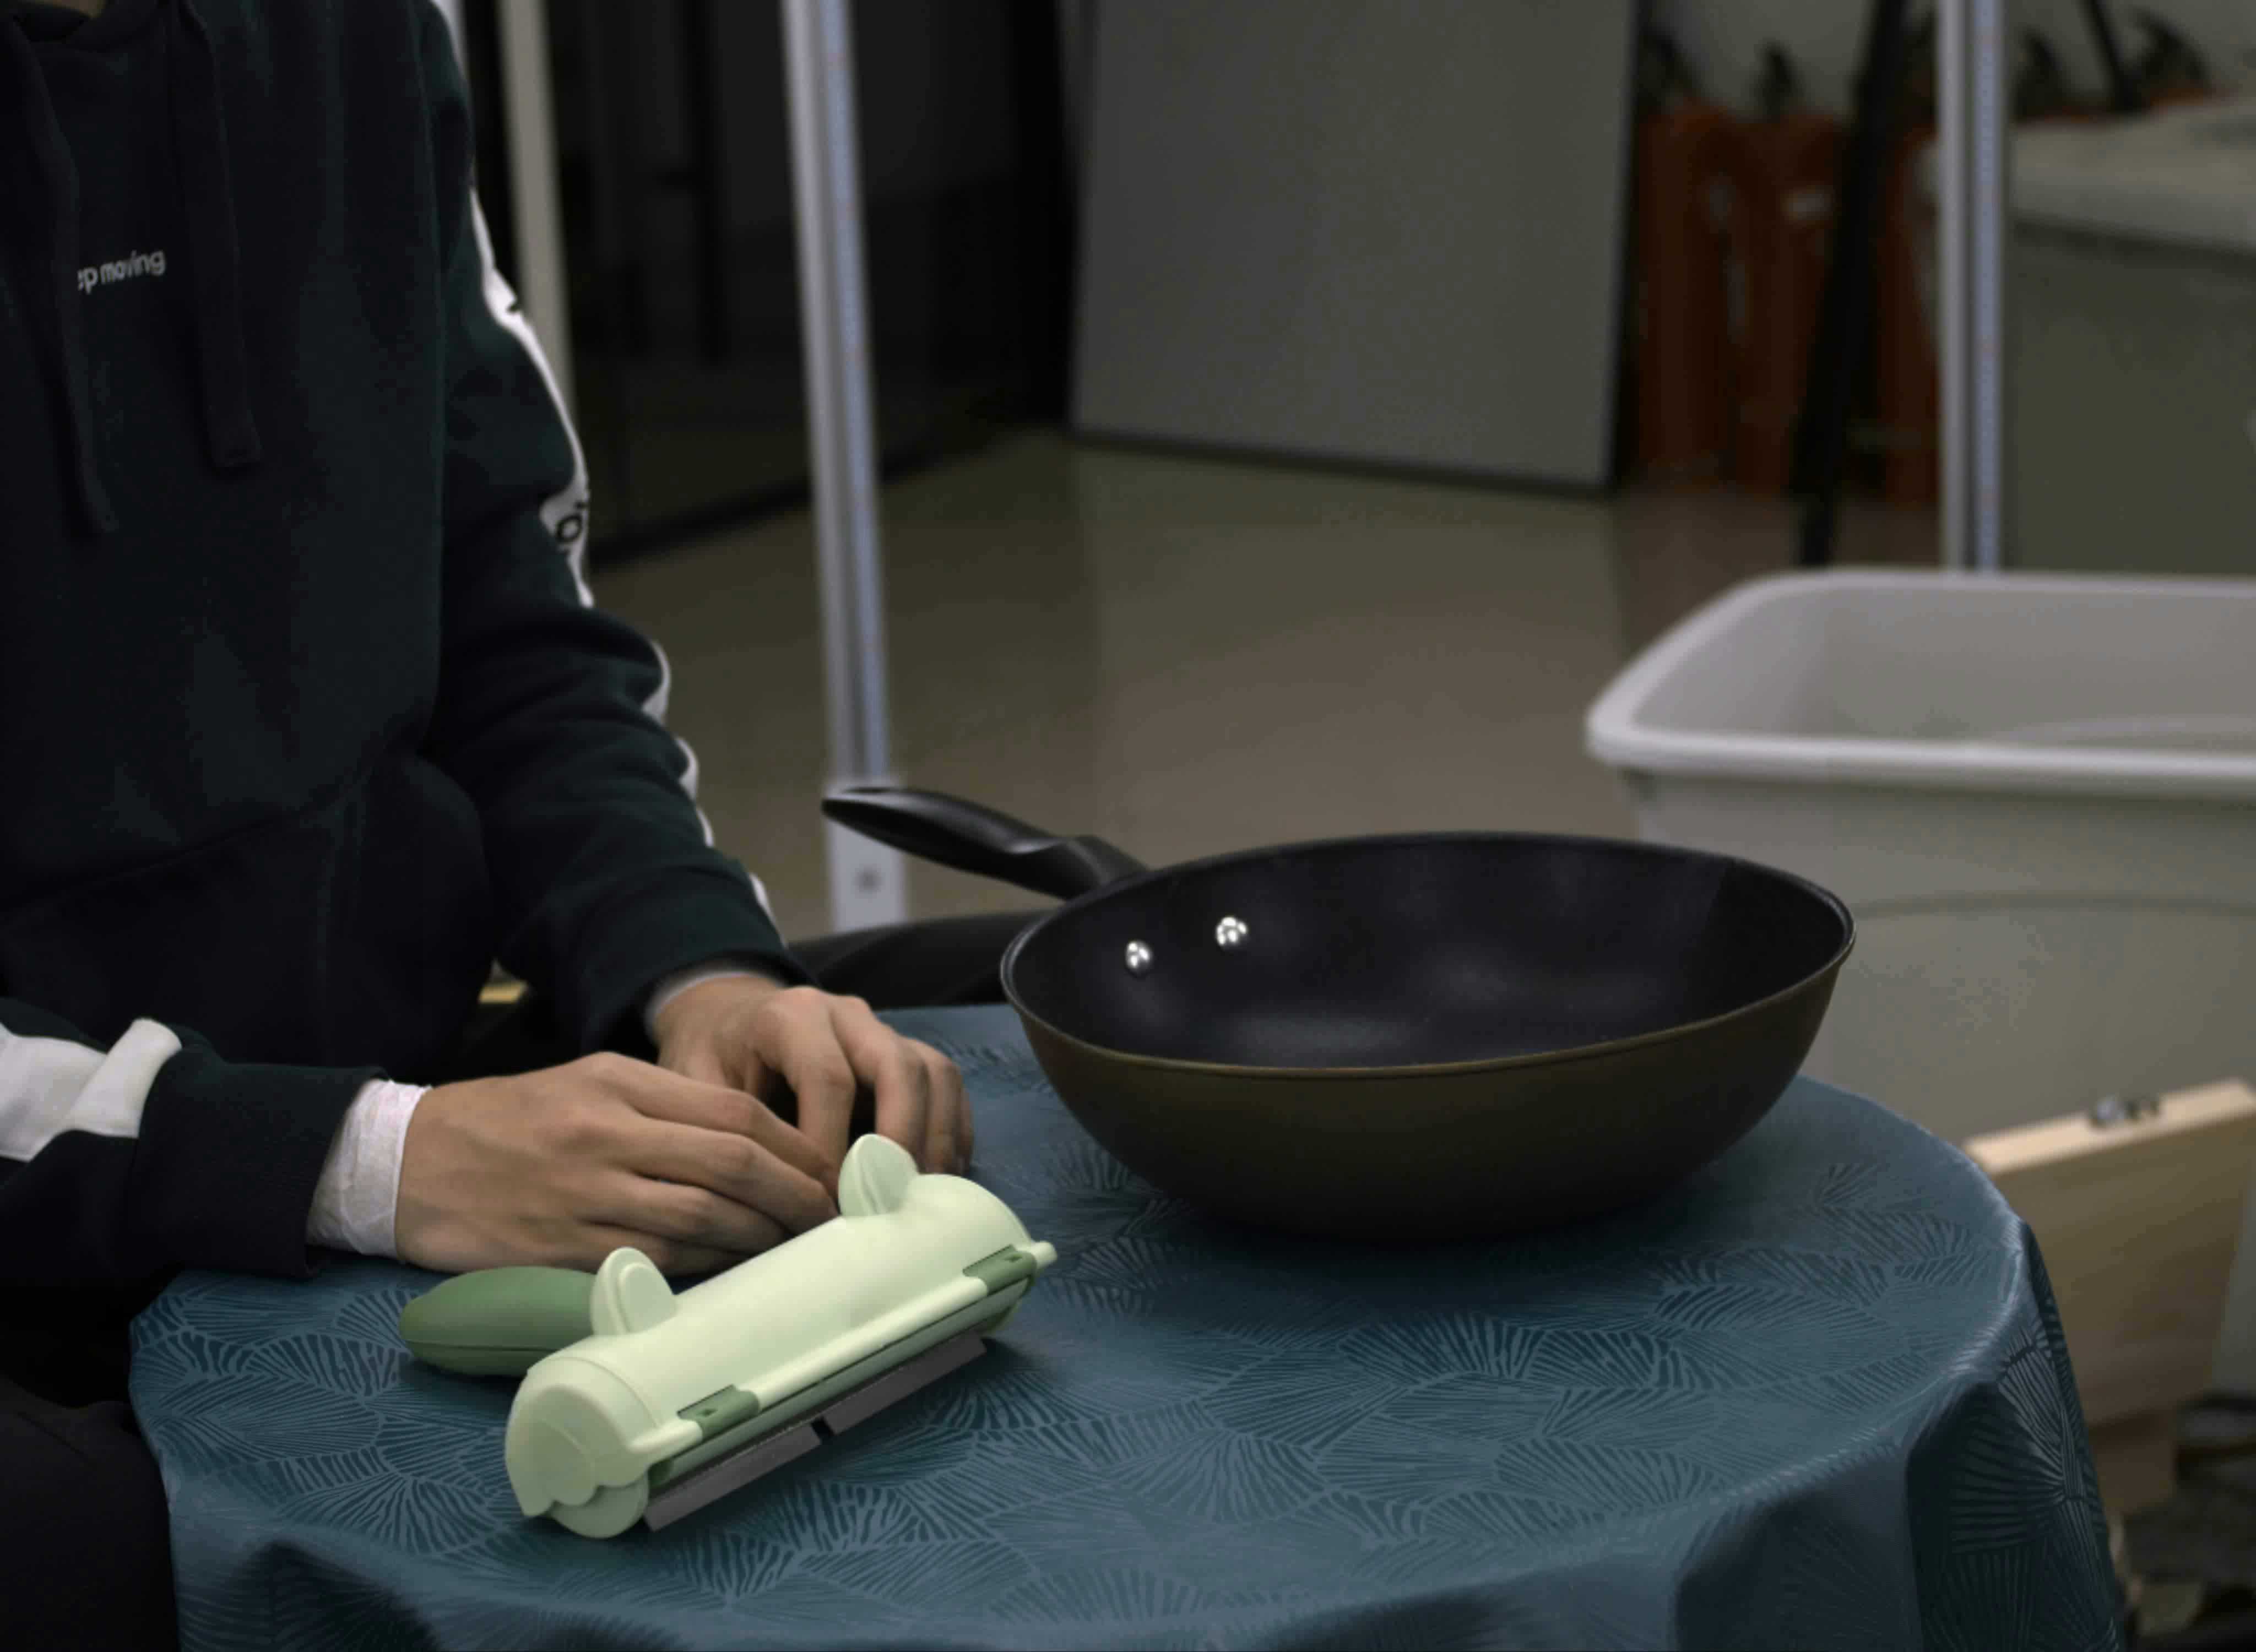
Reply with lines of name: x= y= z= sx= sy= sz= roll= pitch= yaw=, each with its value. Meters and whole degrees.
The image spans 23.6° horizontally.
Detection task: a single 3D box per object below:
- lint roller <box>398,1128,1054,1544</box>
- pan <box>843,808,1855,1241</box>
lint roller: x=-0.146 y=0.136 z=1.598 sx=0.184 sy=0.083 sz=0.195 roll=12 pitch=21 yaw=34
pan: x=0.041 y=0.062 z=1.826 sx=0.282 sy=0.088 sz=0.468 roll=-14 pitch=16 yaw=-37
